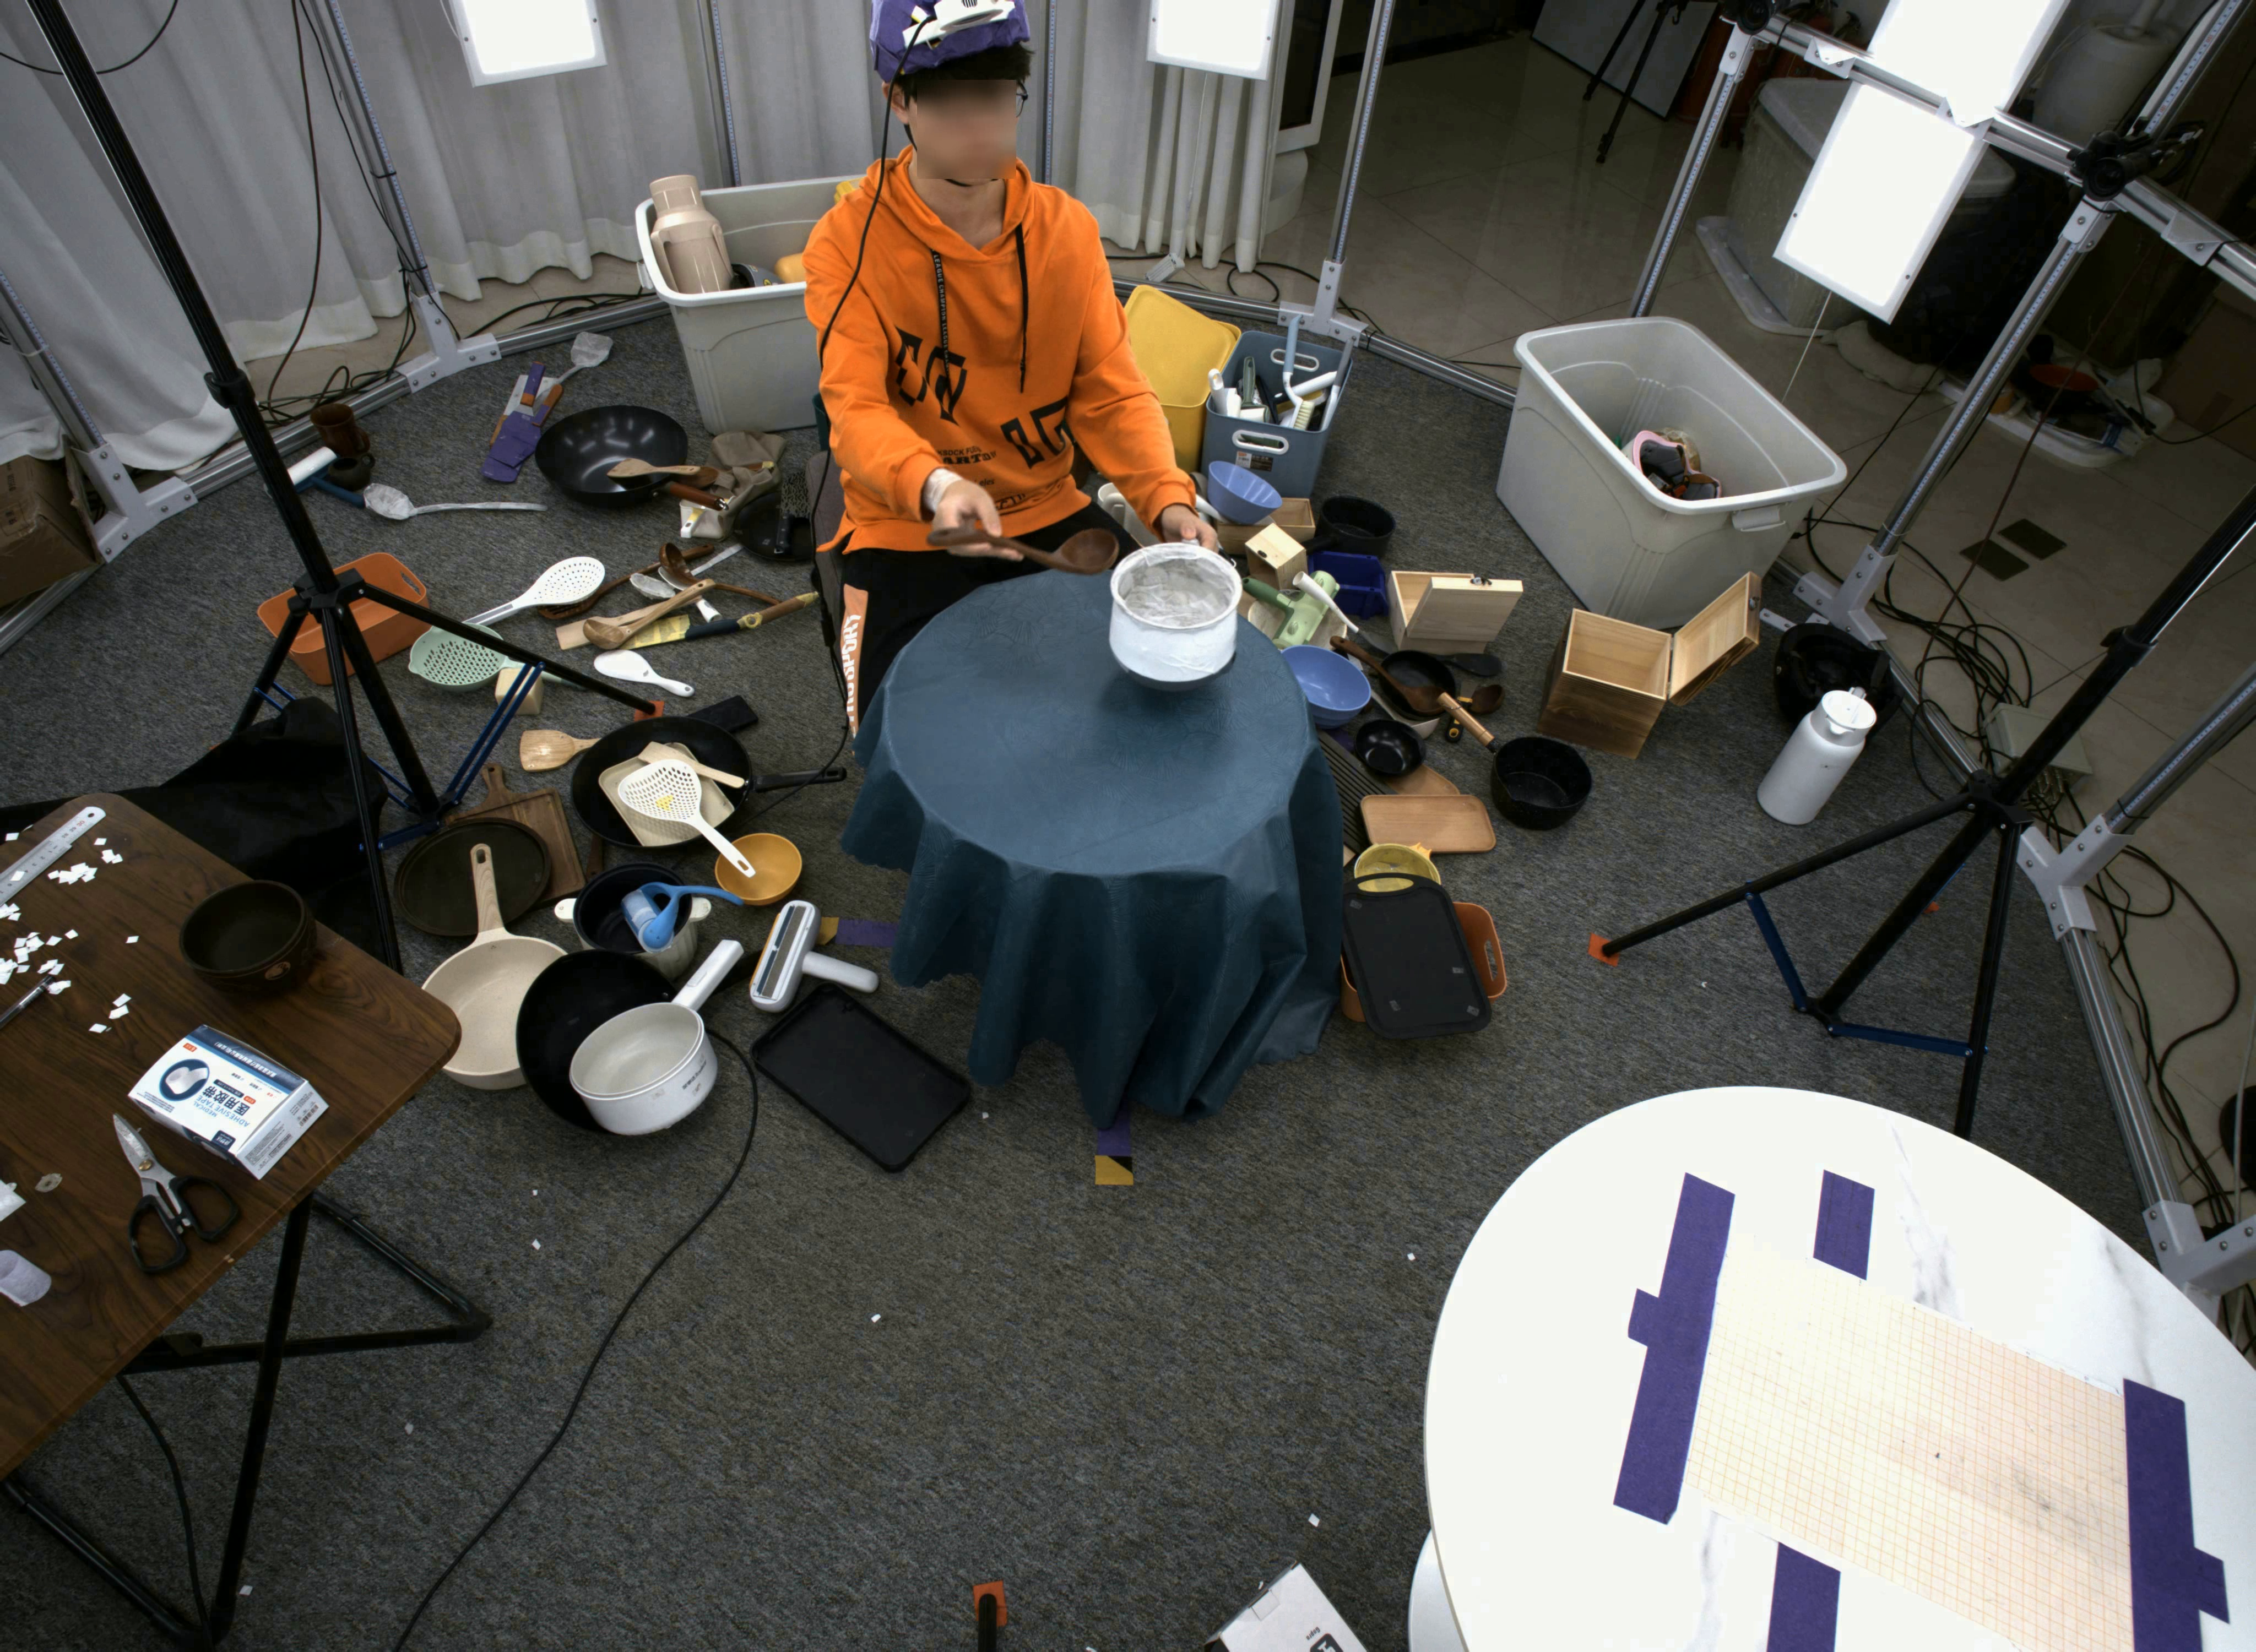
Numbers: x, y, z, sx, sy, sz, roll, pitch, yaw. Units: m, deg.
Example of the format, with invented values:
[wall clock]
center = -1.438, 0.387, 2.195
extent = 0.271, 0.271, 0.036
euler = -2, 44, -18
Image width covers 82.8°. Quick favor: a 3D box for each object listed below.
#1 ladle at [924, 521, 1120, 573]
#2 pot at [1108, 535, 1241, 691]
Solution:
[ladle]
center = -0.125, -0.360, 1.591
extent = 0.258, 0.064, 0.078
euler = 5, 34, -36
[pot]
center = 0.066, -0.305, 1.786
extent = 0.179, 0.133, 0.239
euler = 10, 50, 6
